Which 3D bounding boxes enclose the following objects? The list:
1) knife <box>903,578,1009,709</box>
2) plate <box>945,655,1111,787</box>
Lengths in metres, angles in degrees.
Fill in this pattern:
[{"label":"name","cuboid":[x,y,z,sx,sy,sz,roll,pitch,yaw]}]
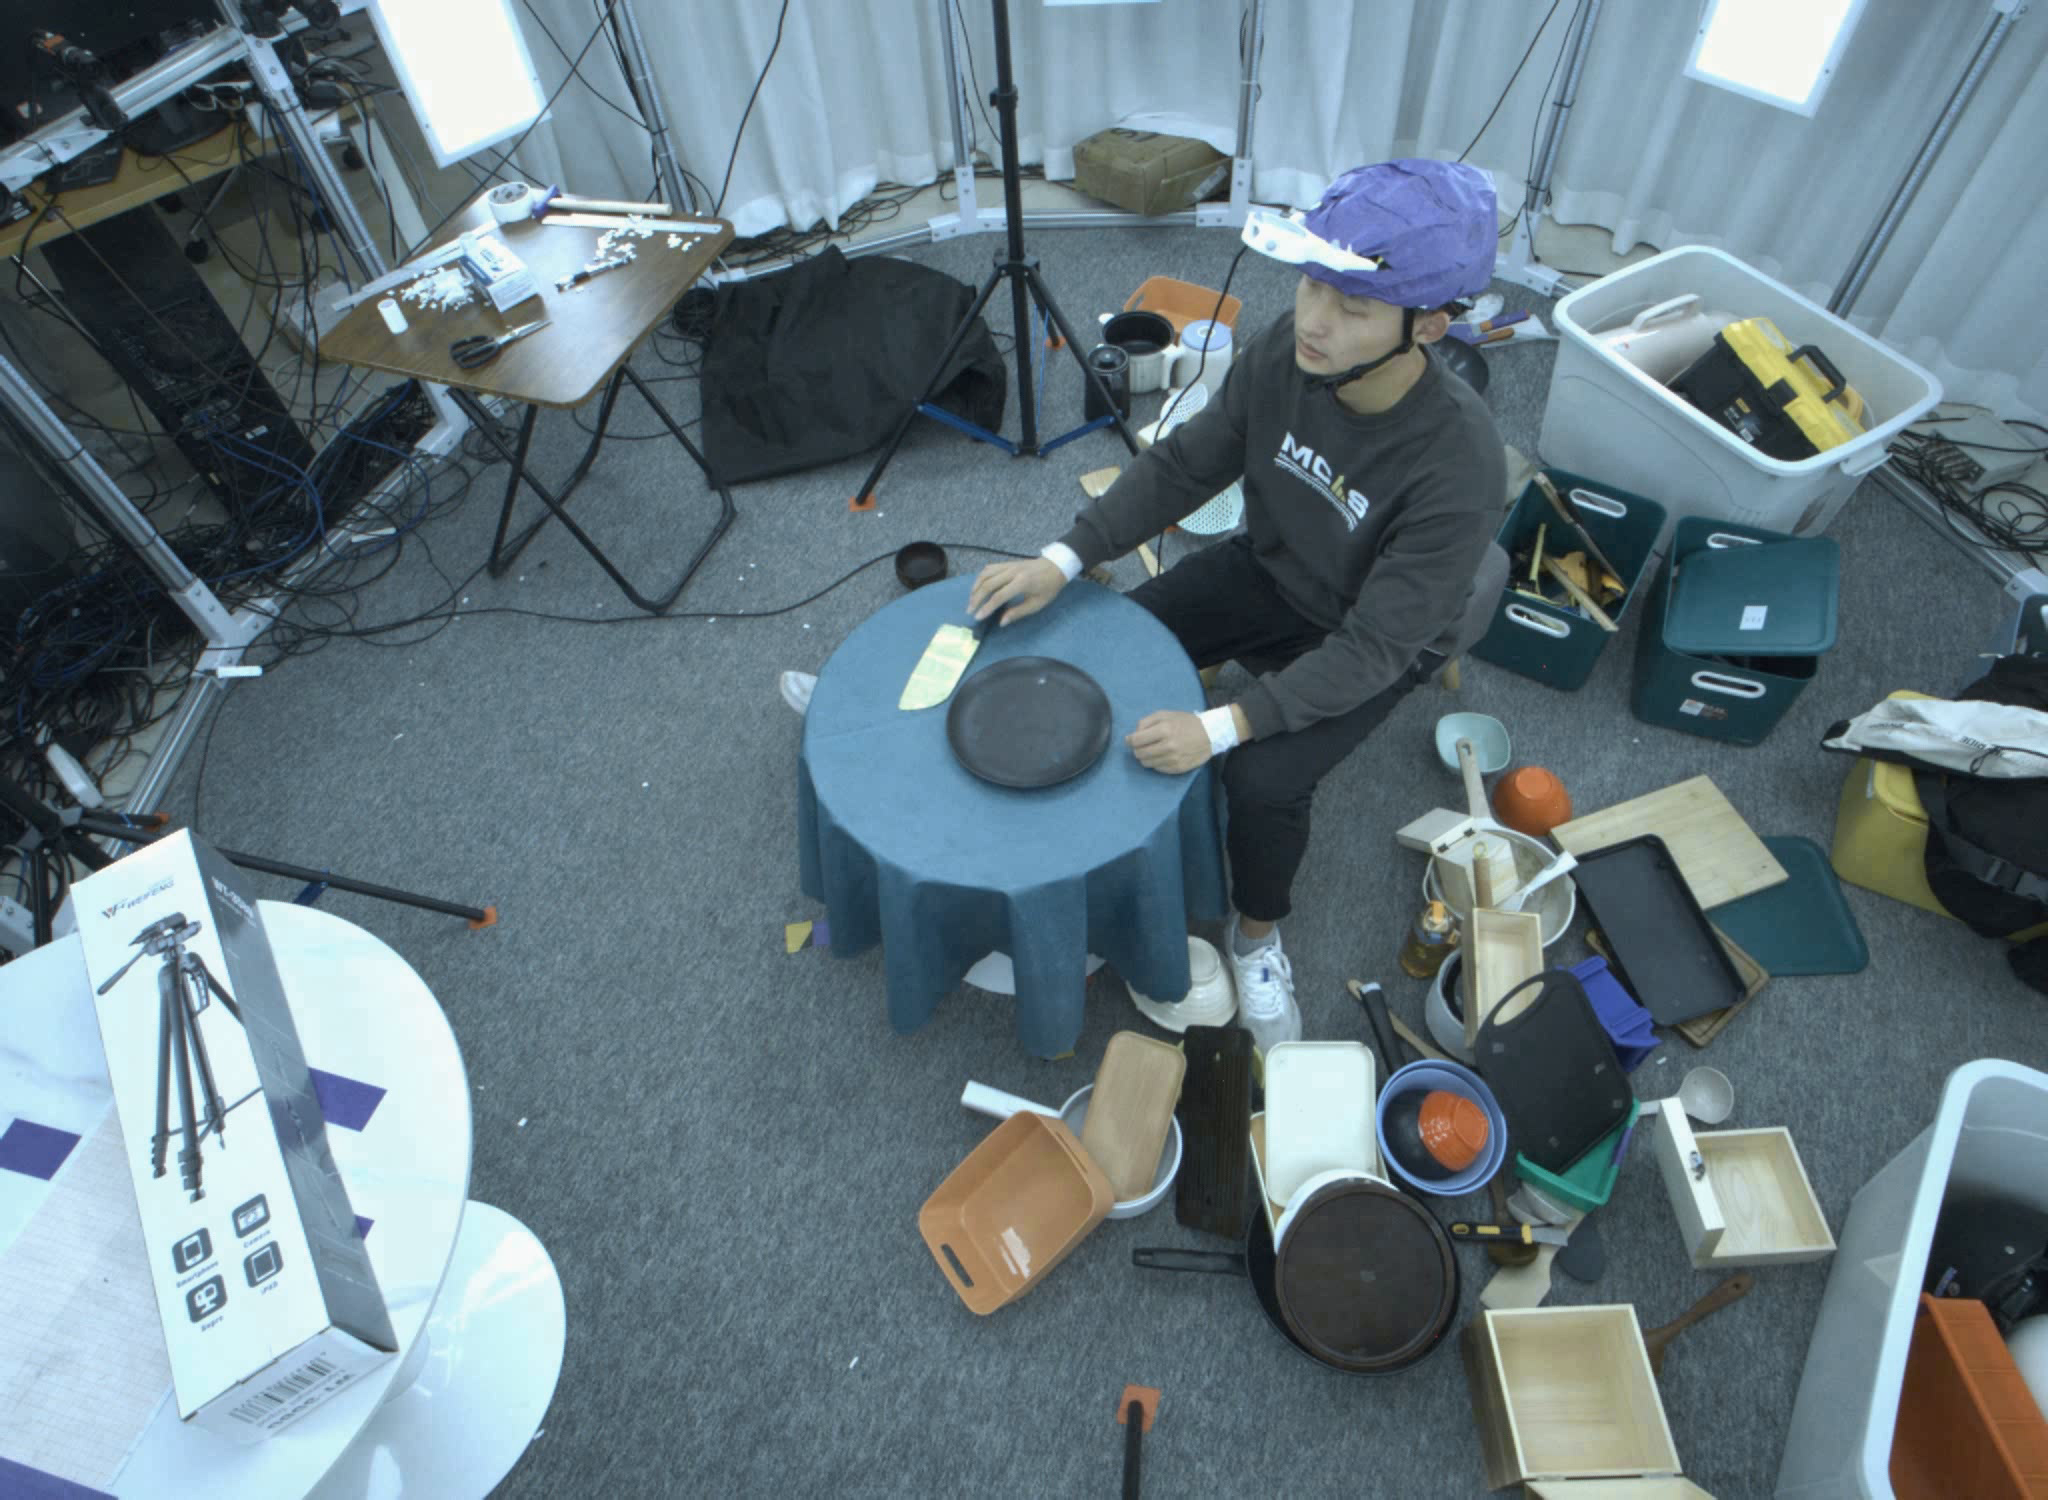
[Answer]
[{"label":"knife","cuboid":[-0.104,-0.169,1.909,0.080,0.027,0.290,23,59,15]},{"label":"plate","cuboid":[0.005,-0.041,1.810,0.244,0.023,0.242,0,54,1]}]
